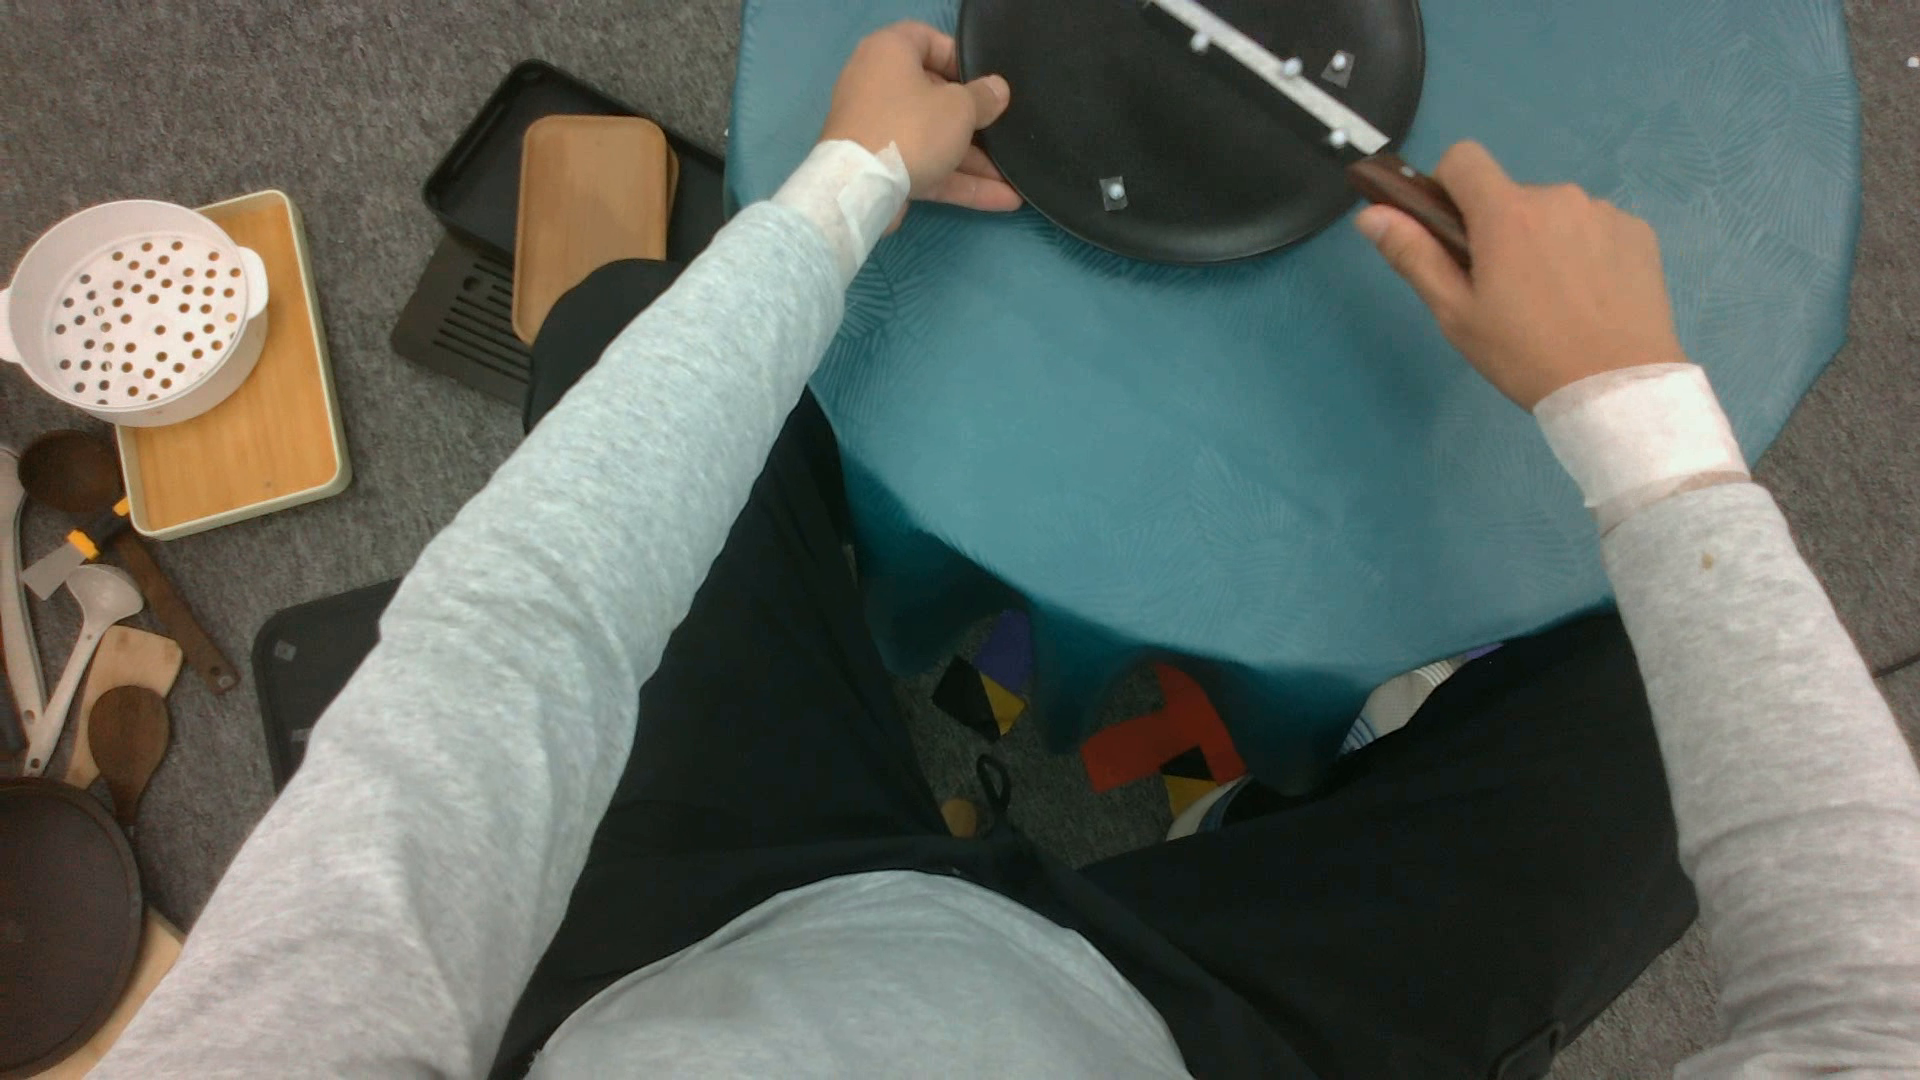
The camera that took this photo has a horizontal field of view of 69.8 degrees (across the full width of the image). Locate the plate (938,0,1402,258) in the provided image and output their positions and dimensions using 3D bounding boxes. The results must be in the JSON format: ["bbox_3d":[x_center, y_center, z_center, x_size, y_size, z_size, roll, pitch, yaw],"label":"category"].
[{"bbox_3d":[0.110,-0.262,0.730,0.244,0.023,0.244,0,81,-1],"label":"plate"}]

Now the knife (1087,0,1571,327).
[{"bbox_3d":[0.158,-0.191,0.637,0.289,0.020,0.050,40,46,11],"label":"knife"}]
